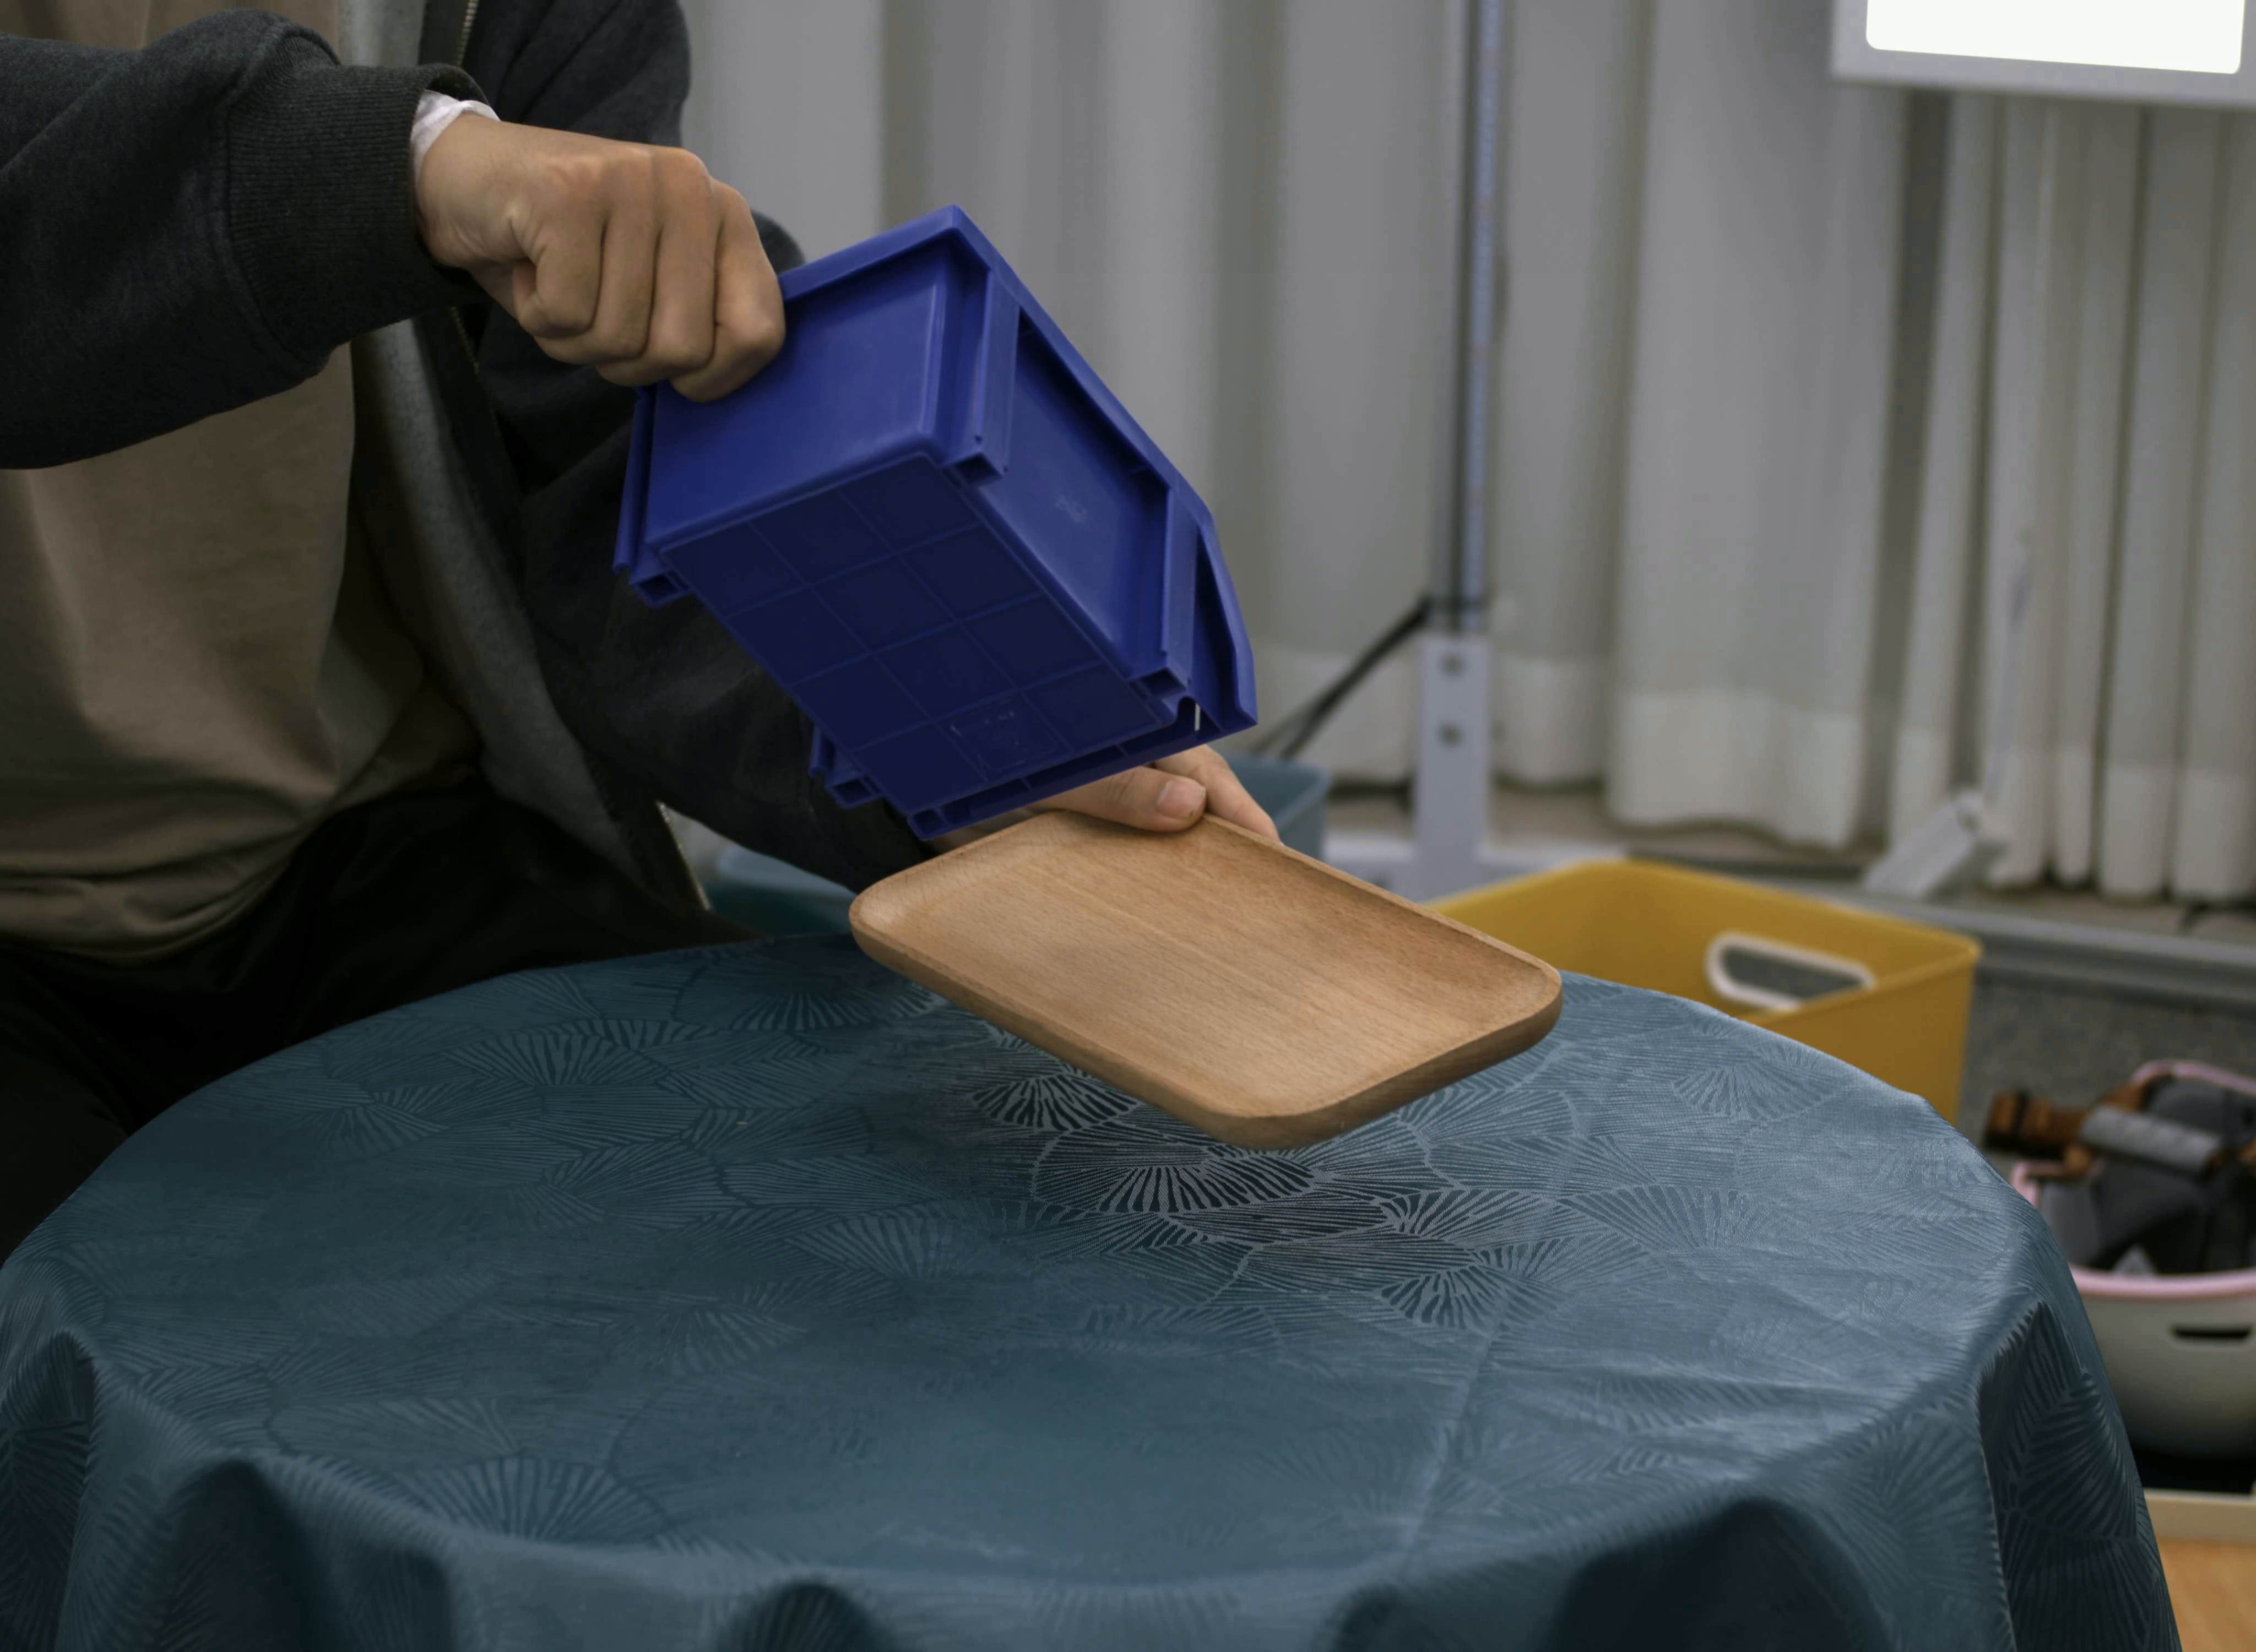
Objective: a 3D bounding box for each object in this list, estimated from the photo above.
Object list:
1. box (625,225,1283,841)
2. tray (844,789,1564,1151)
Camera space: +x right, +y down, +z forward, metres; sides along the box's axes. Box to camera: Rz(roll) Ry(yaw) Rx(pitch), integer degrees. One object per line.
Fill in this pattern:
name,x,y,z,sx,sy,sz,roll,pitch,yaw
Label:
box,-0.052,-0.076,1.563,0.124,0.182,0.081,-20,50,26
tray,0.020,0.042,1.632,0.131,0.023,0.247,-19,25,-29
